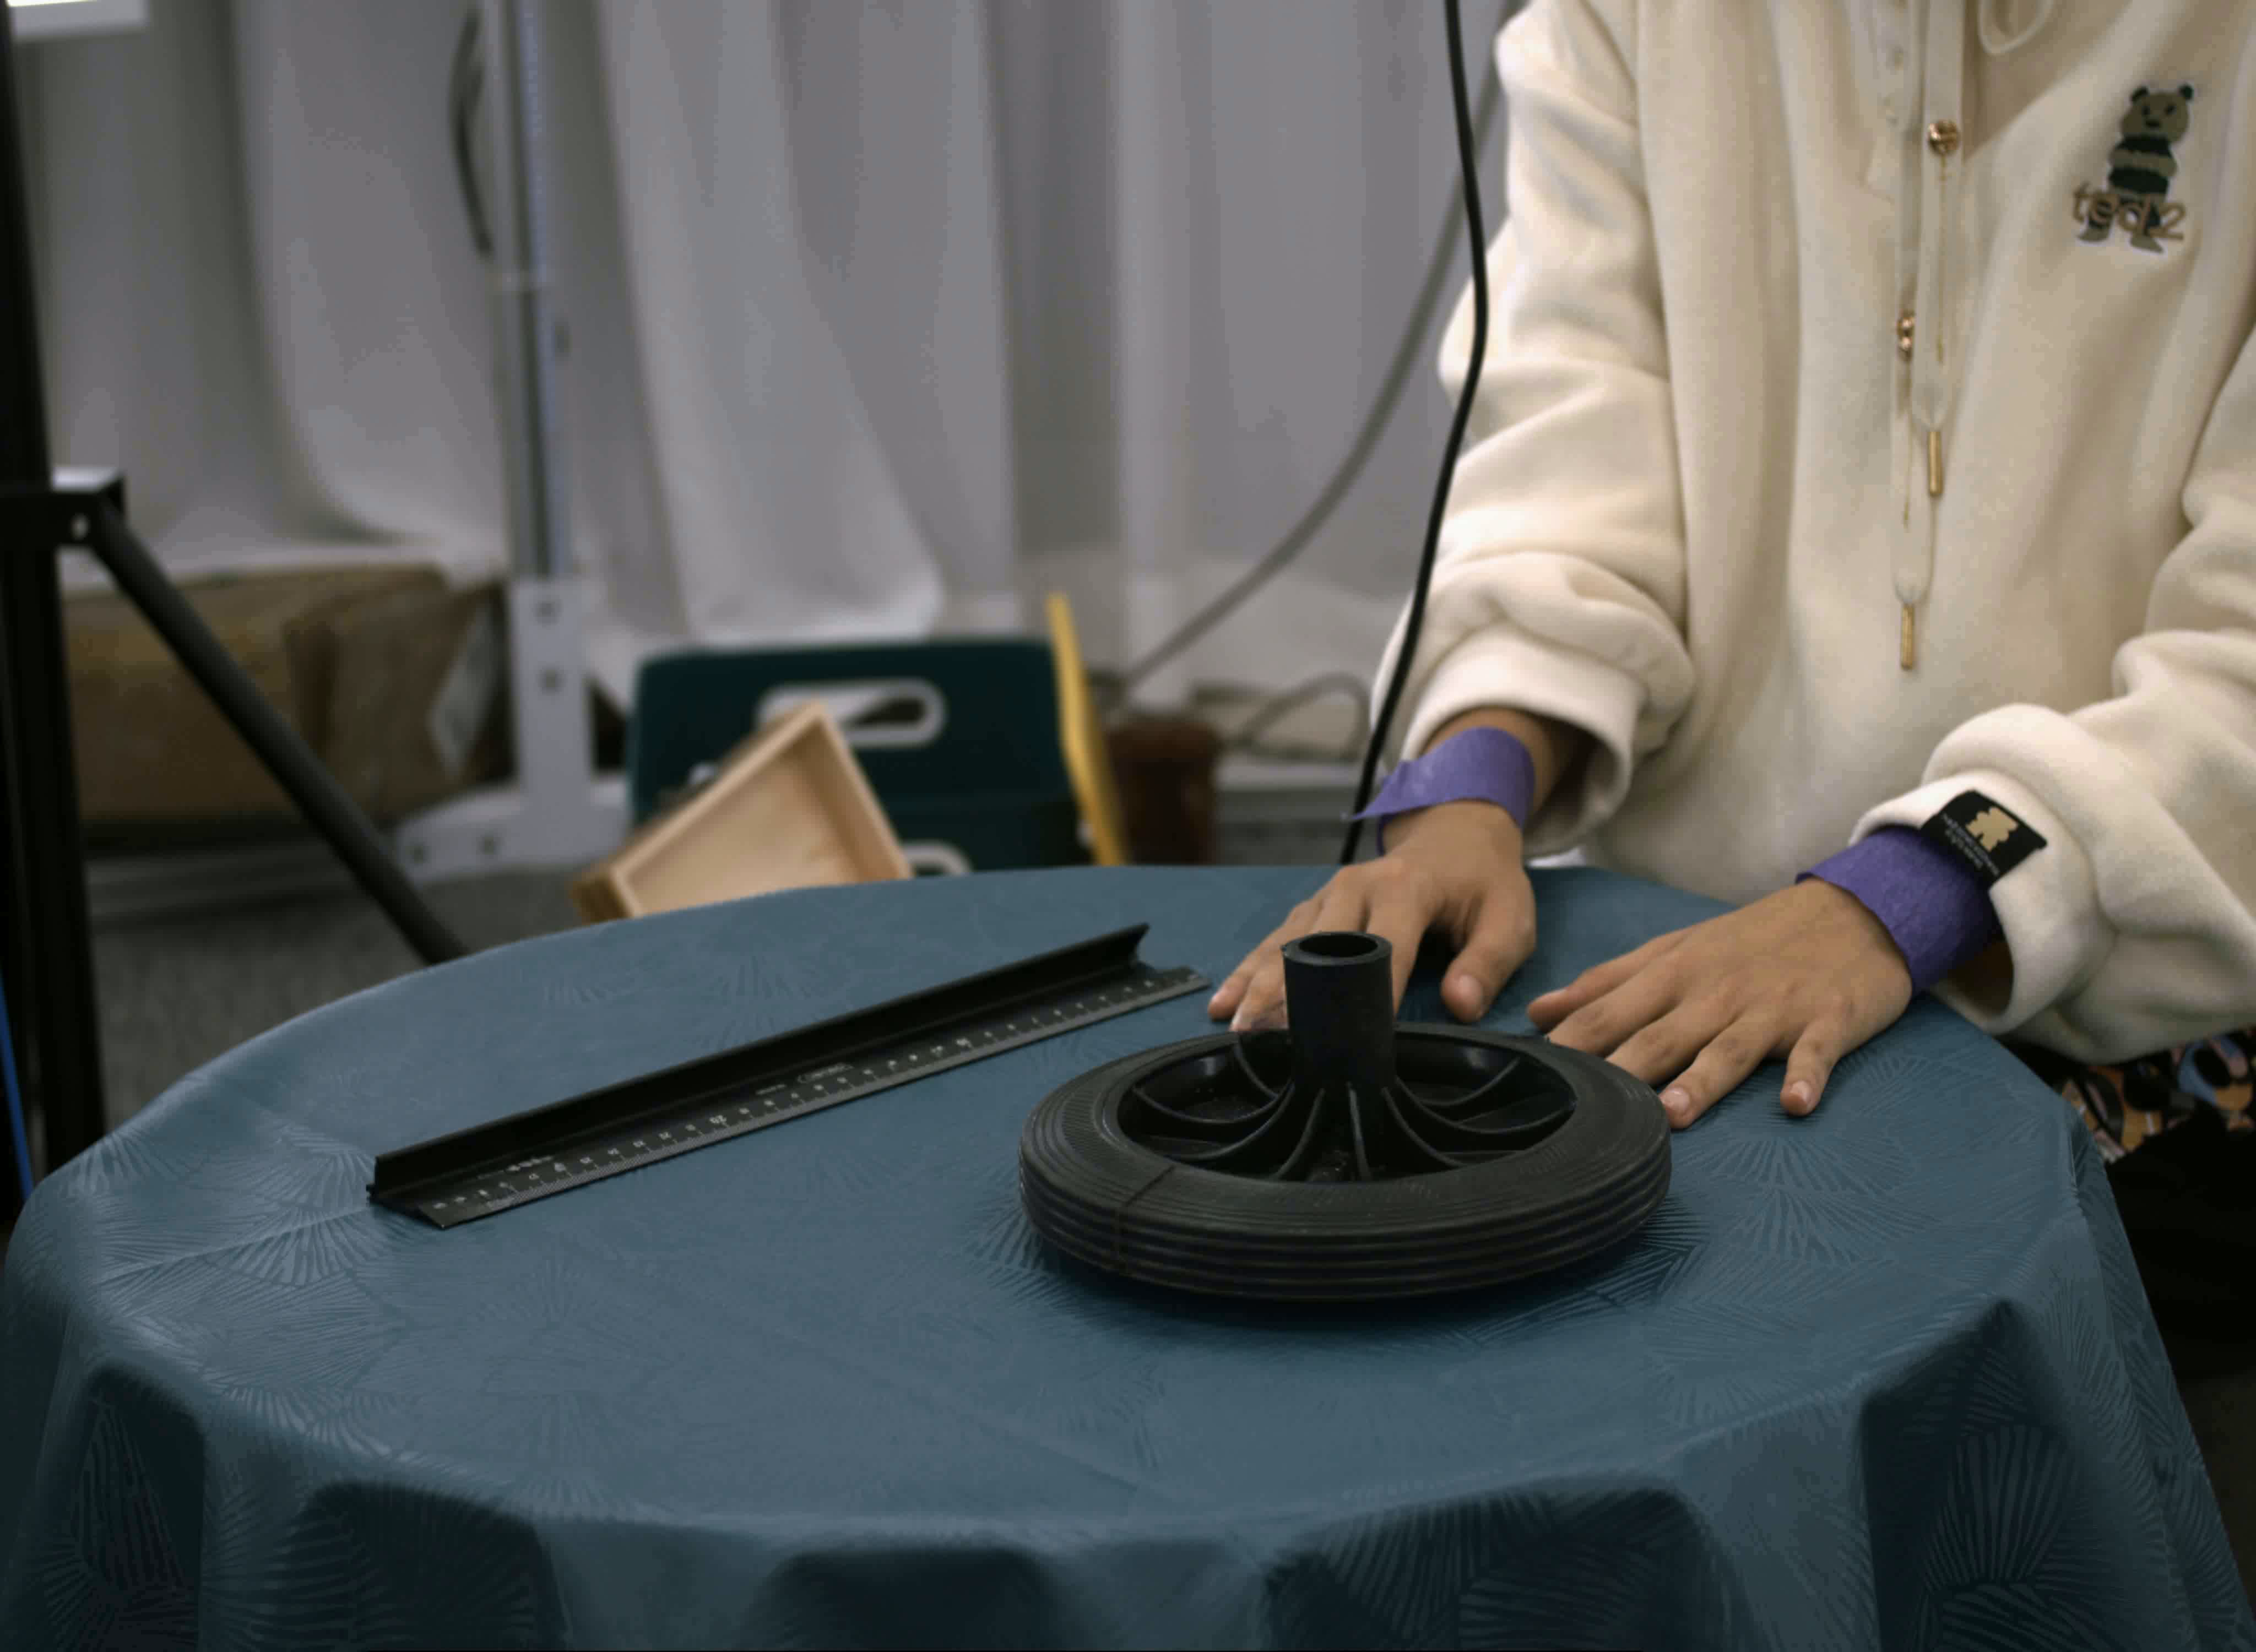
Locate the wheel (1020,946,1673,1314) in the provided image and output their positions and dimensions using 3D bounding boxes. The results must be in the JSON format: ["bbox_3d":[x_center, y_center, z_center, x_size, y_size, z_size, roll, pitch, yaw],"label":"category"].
[{"bbox_3d":[0.062,0.077,1.516,0.185,0.079,0.192,-5,16,-8],"label":"wheel"}]

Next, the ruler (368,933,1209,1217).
[{"bbox_3d":[-0.099,0.075,1.662,0.305,0.017,0.040,-15,23,-38],"label":"ruler"}]
